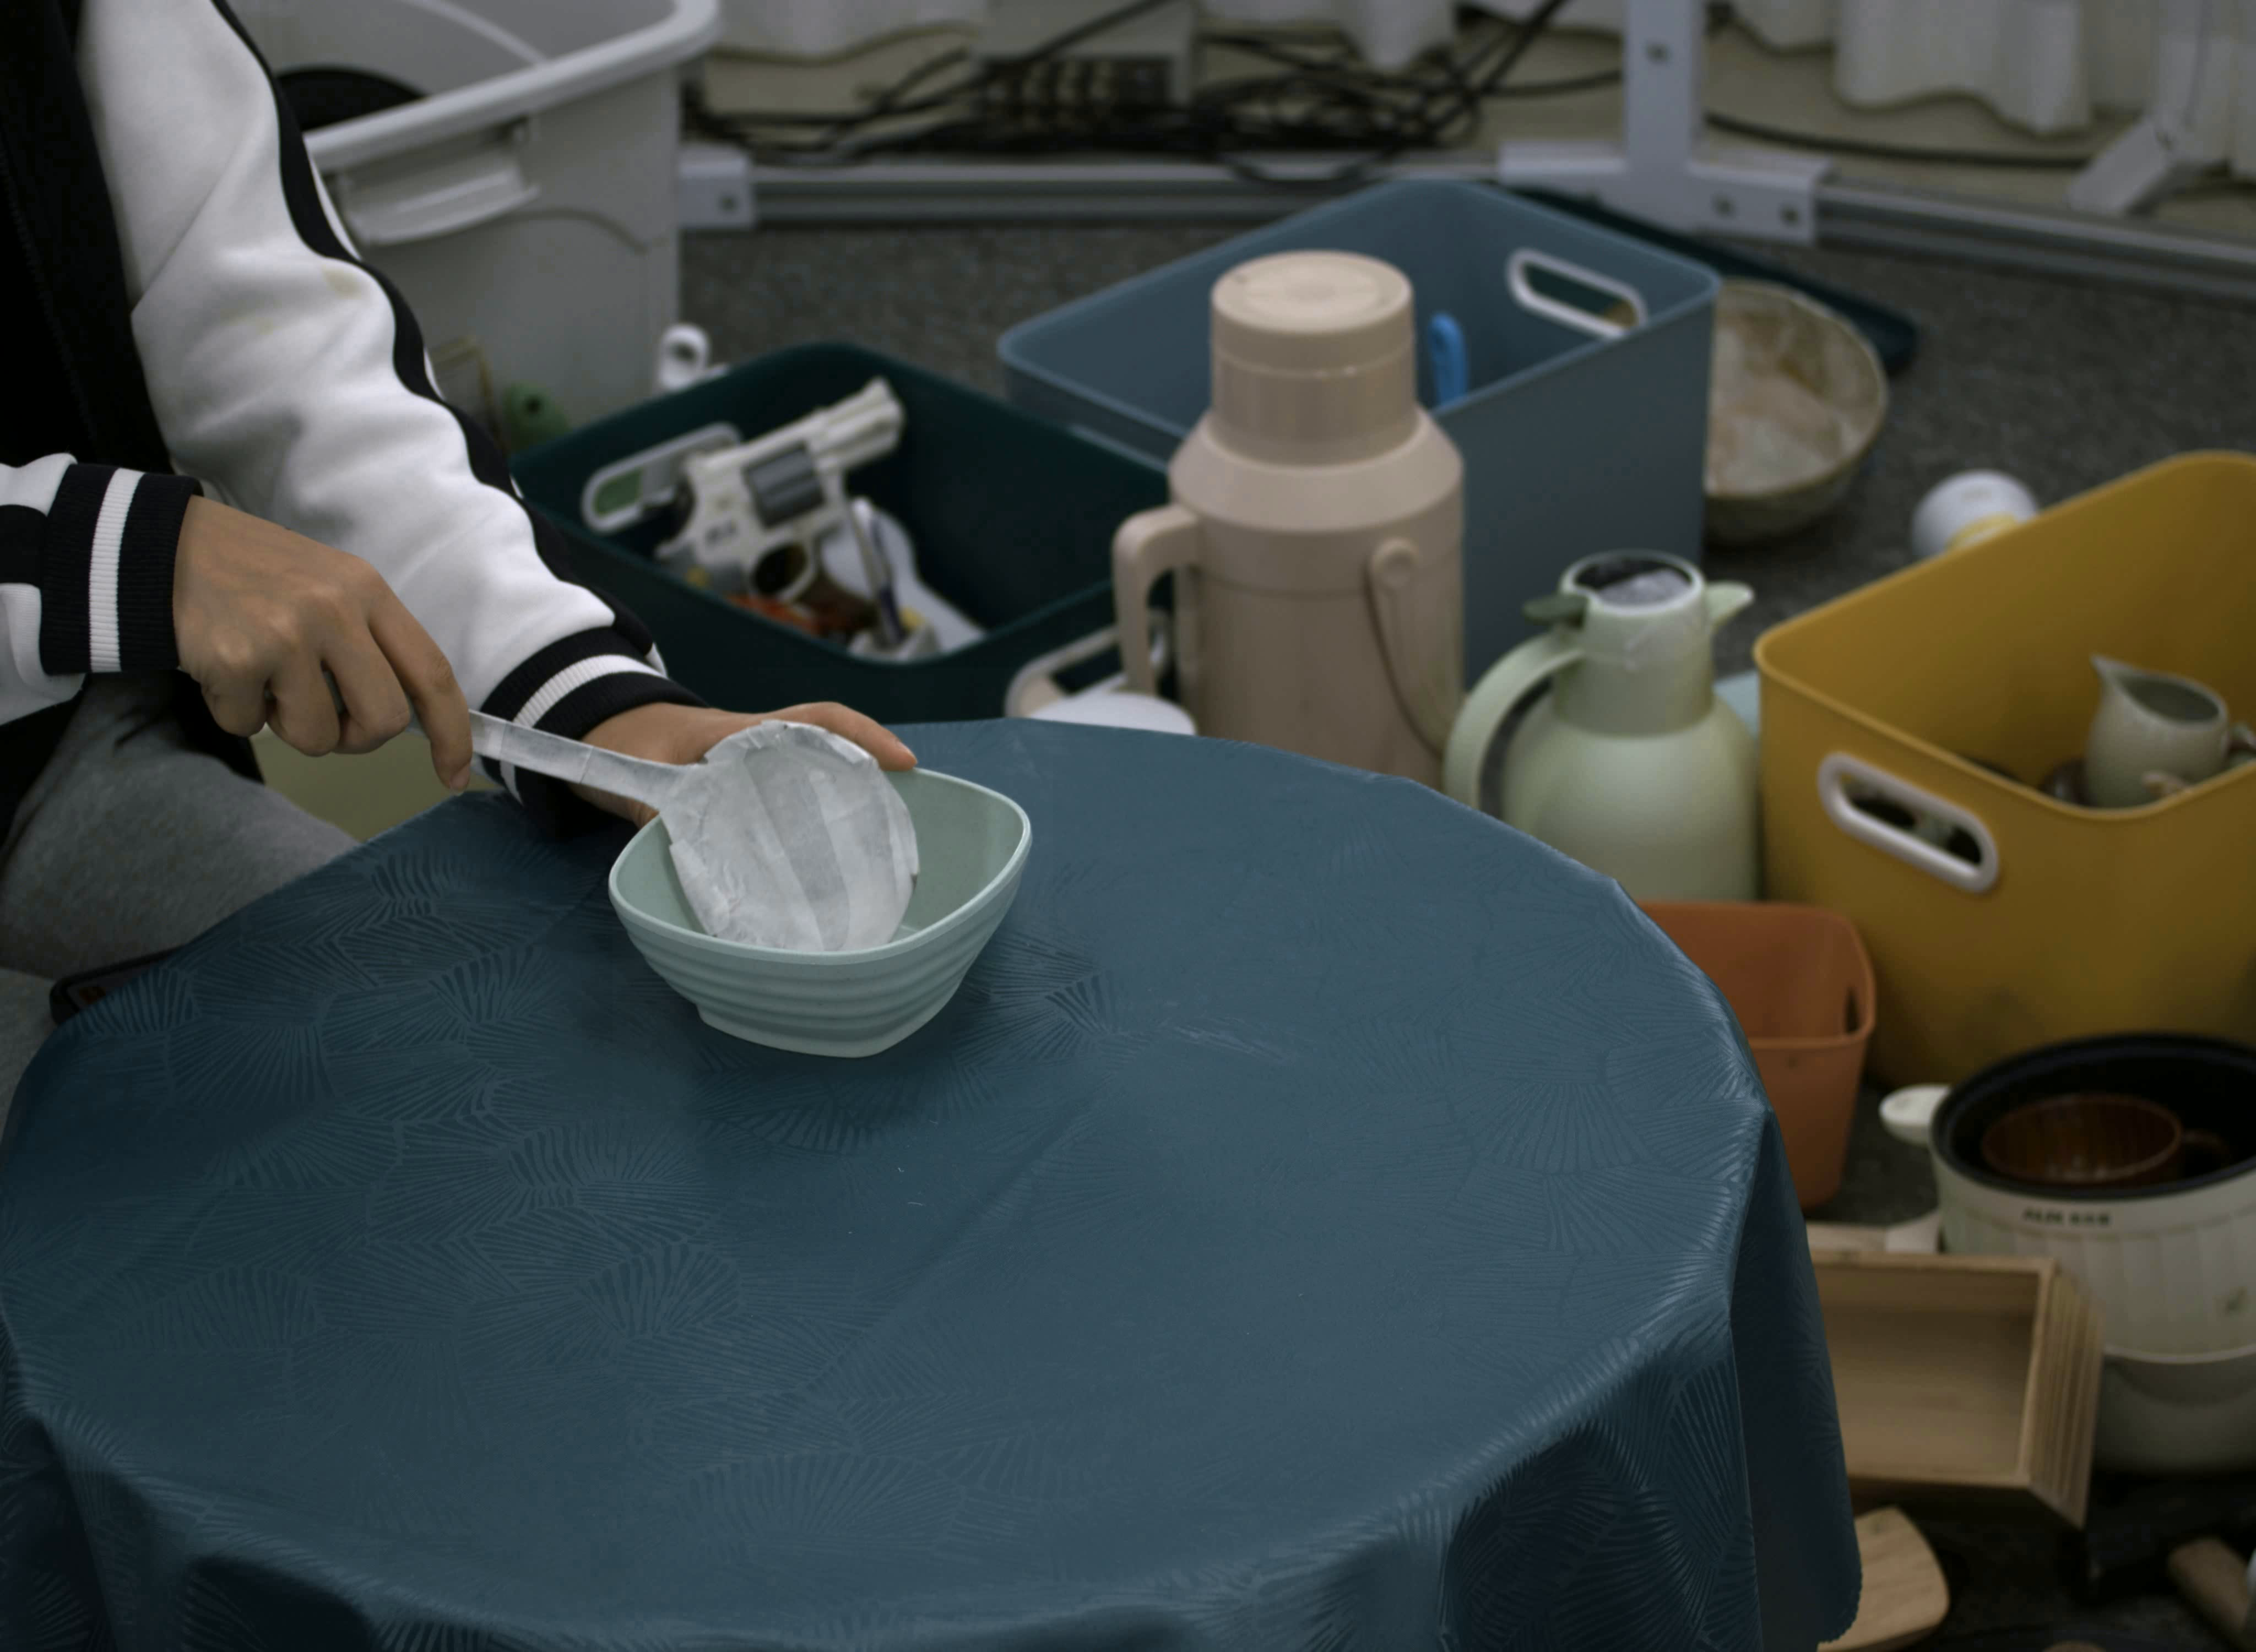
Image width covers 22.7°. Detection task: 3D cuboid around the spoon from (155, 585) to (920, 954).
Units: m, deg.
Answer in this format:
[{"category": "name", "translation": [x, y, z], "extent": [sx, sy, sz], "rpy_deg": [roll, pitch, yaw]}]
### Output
[{"category": "spoon", "translation": [-0.202, -0.027, 1.943], "extent": [0.276, 0.100, 0.060], "rpy_deg": [20, 13, -22]}]

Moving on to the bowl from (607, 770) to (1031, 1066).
[{"category": "bowl", "translation": [-0.107, 0.037, 1.980], "extent": [0.151, 0.058, 0.154], "rpy_deg": [-2, 27, 1]}]
